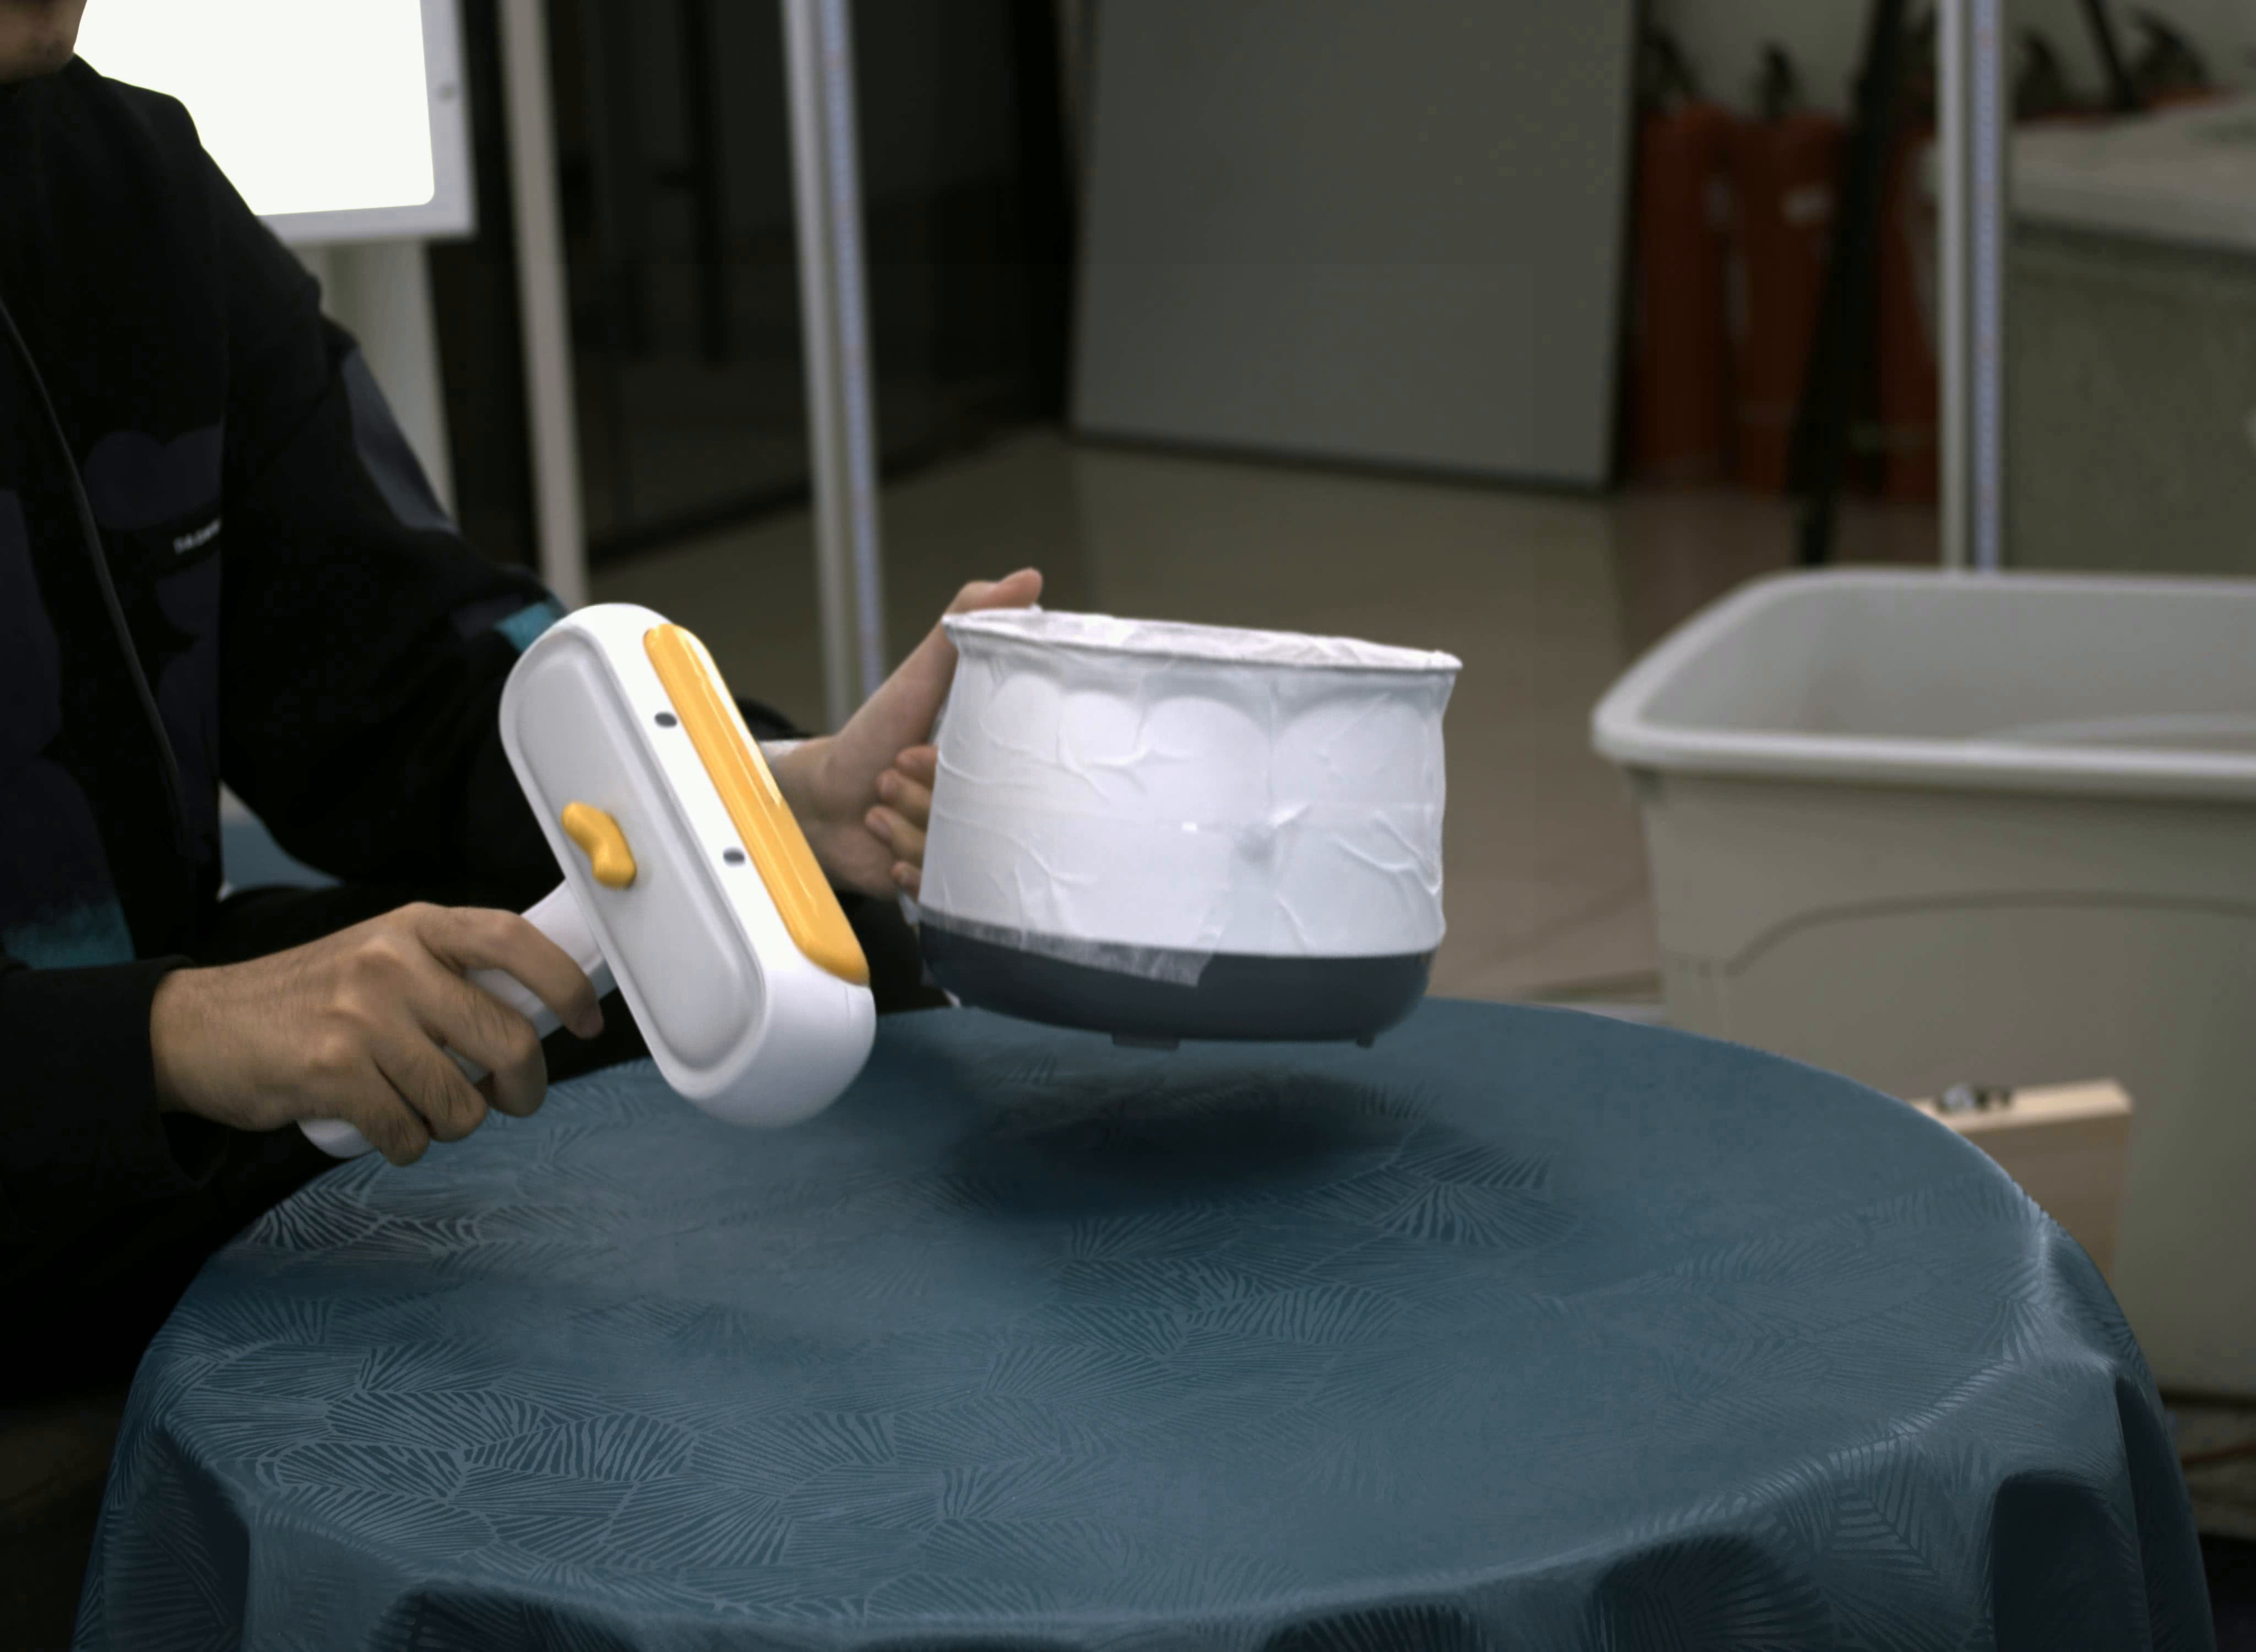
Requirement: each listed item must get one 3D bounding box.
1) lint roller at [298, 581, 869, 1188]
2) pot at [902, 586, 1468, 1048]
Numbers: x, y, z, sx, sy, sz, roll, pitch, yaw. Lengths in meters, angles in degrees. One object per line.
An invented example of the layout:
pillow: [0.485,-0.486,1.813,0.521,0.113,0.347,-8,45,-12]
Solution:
lint roller: [-0.186,0.043,1.733,0.073,0.193,0.195,19,30,-53]
pot: [0.003,-0.007,1.835,0.174,0.138,0.236,4,5,-38]
